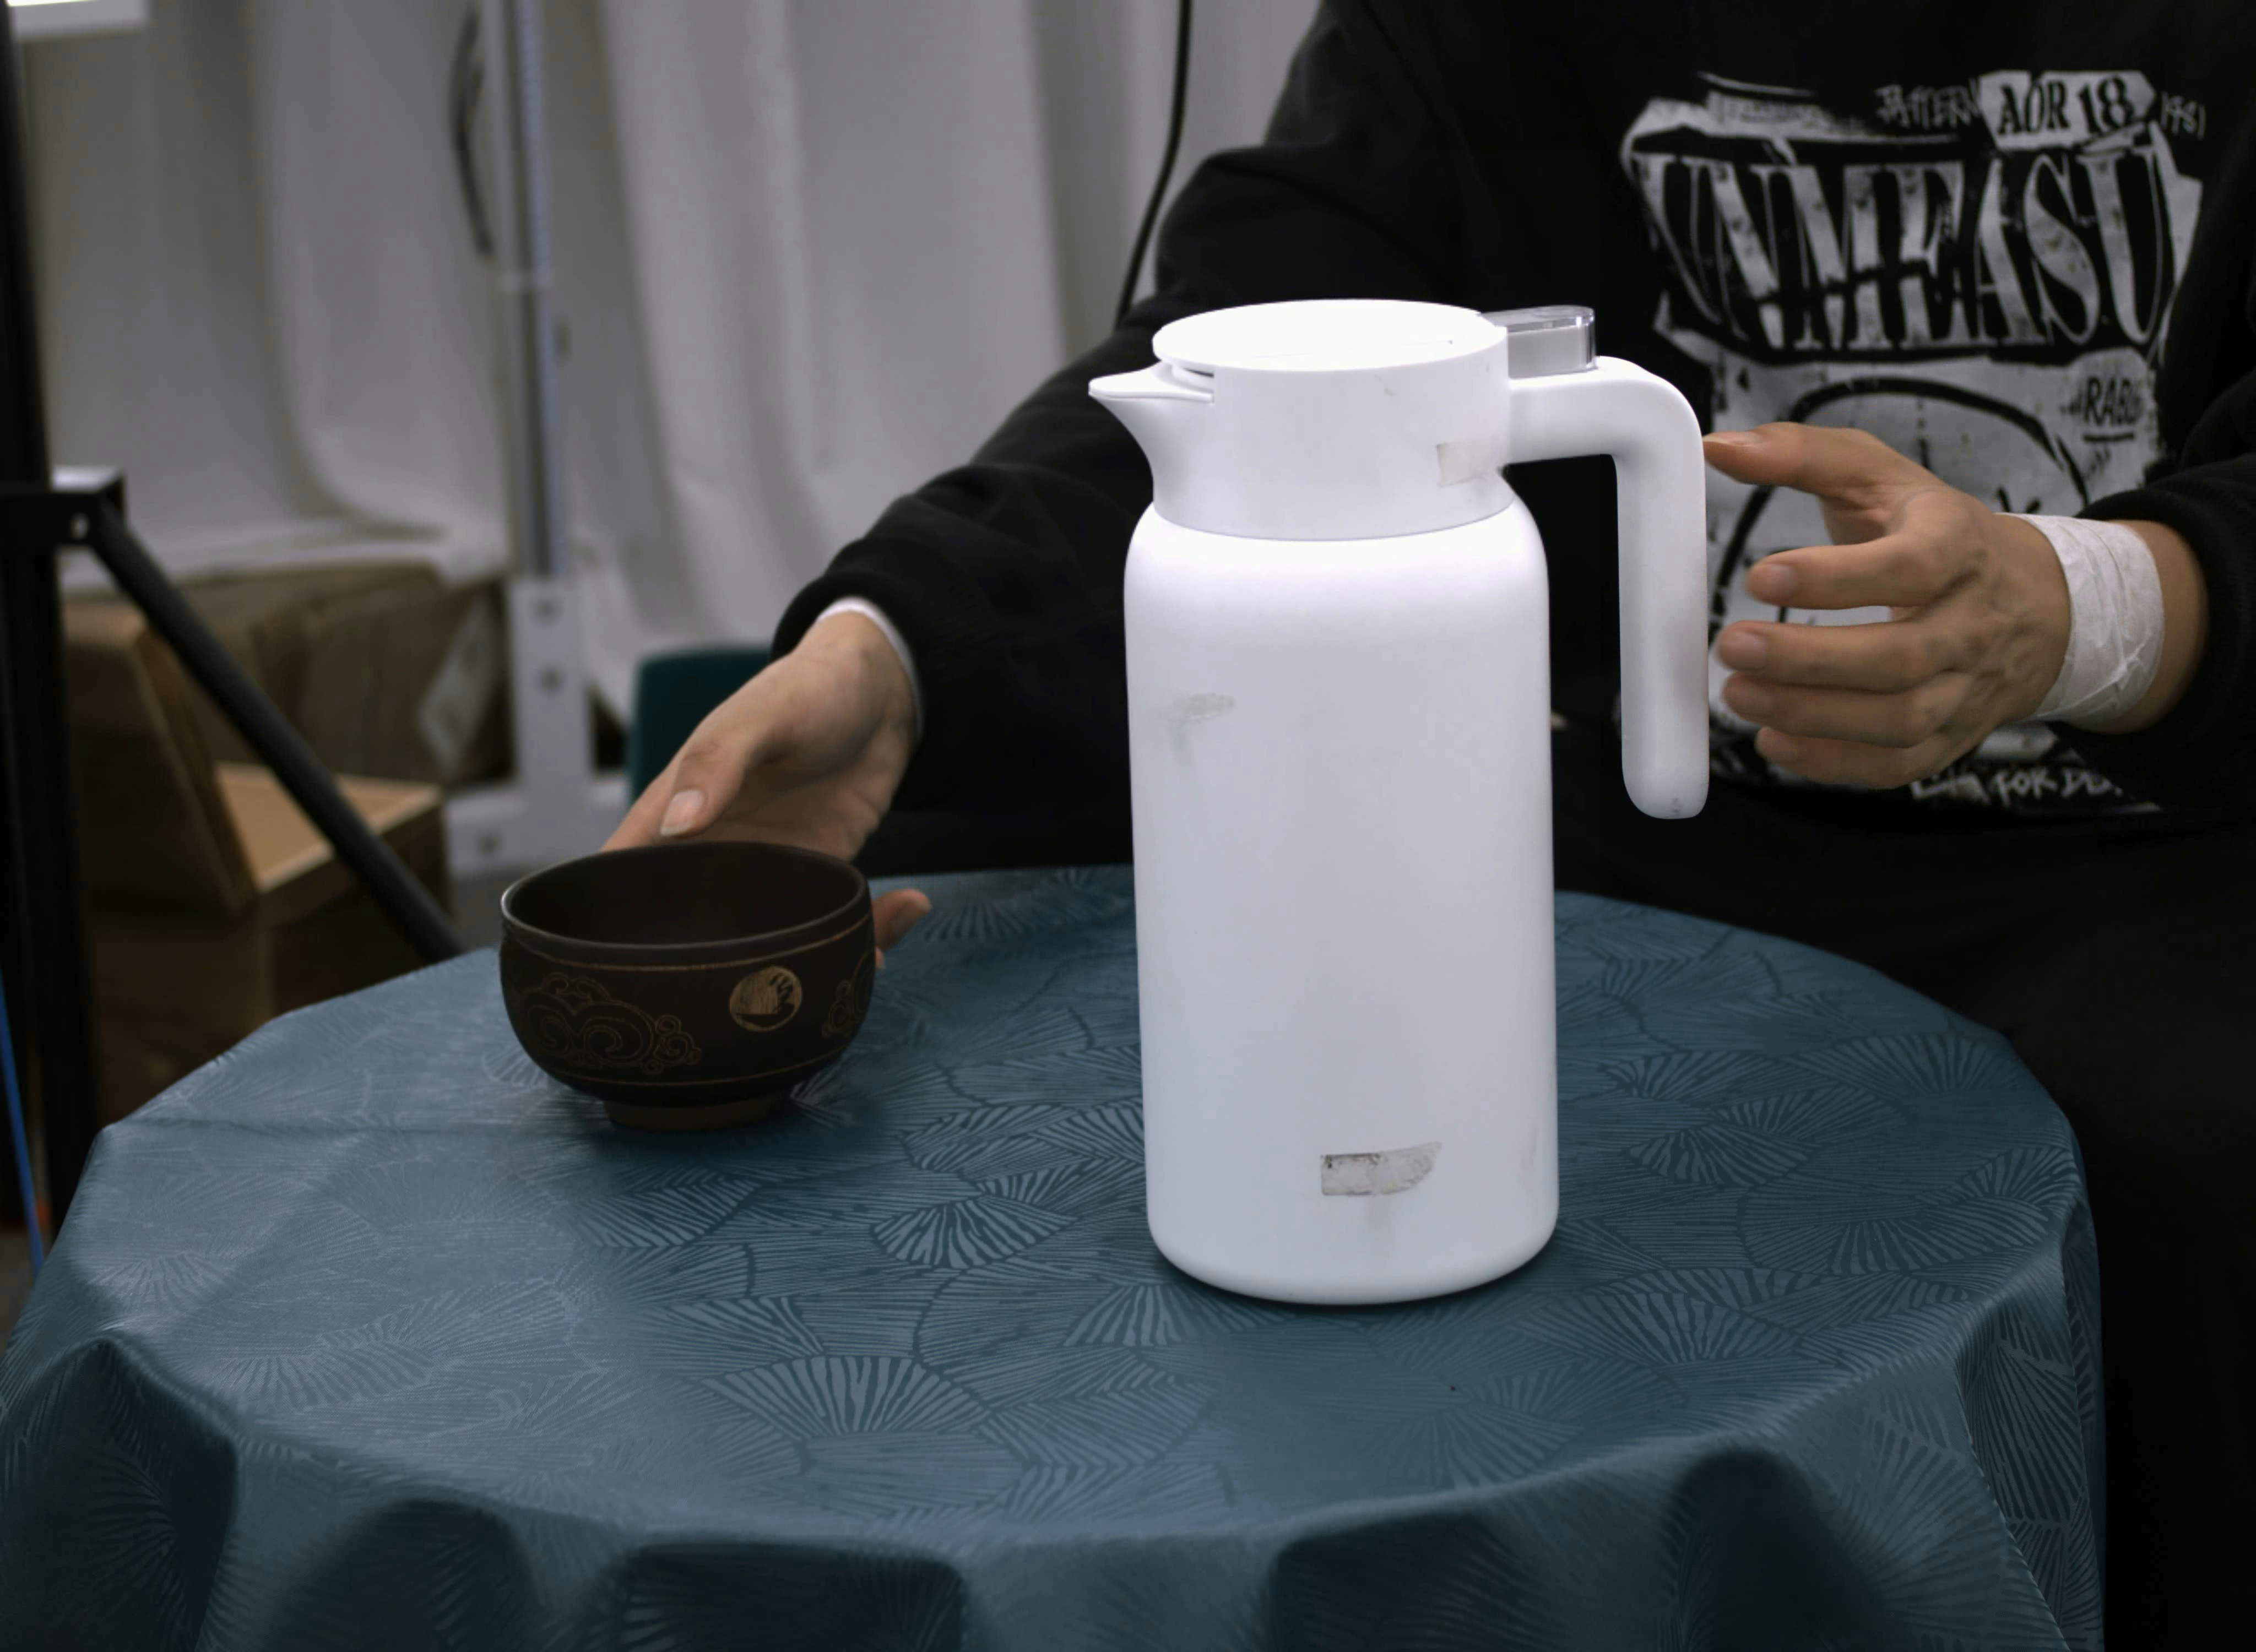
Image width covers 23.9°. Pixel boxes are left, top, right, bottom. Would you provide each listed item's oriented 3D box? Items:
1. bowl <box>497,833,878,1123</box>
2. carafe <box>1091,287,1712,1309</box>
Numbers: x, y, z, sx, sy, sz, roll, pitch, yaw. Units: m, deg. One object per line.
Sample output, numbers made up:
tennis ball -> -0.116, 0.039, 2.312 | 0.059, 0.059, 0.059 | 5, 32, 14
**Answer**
bowl -> -0.135, 0.050, 1.644 | 0.117, 0.070, 0.118 | -2, 15, -1
carafe -> 0.077, -0.011, 1.473 | 0.170, 0.269, 0.125 | -6, 14, -14
